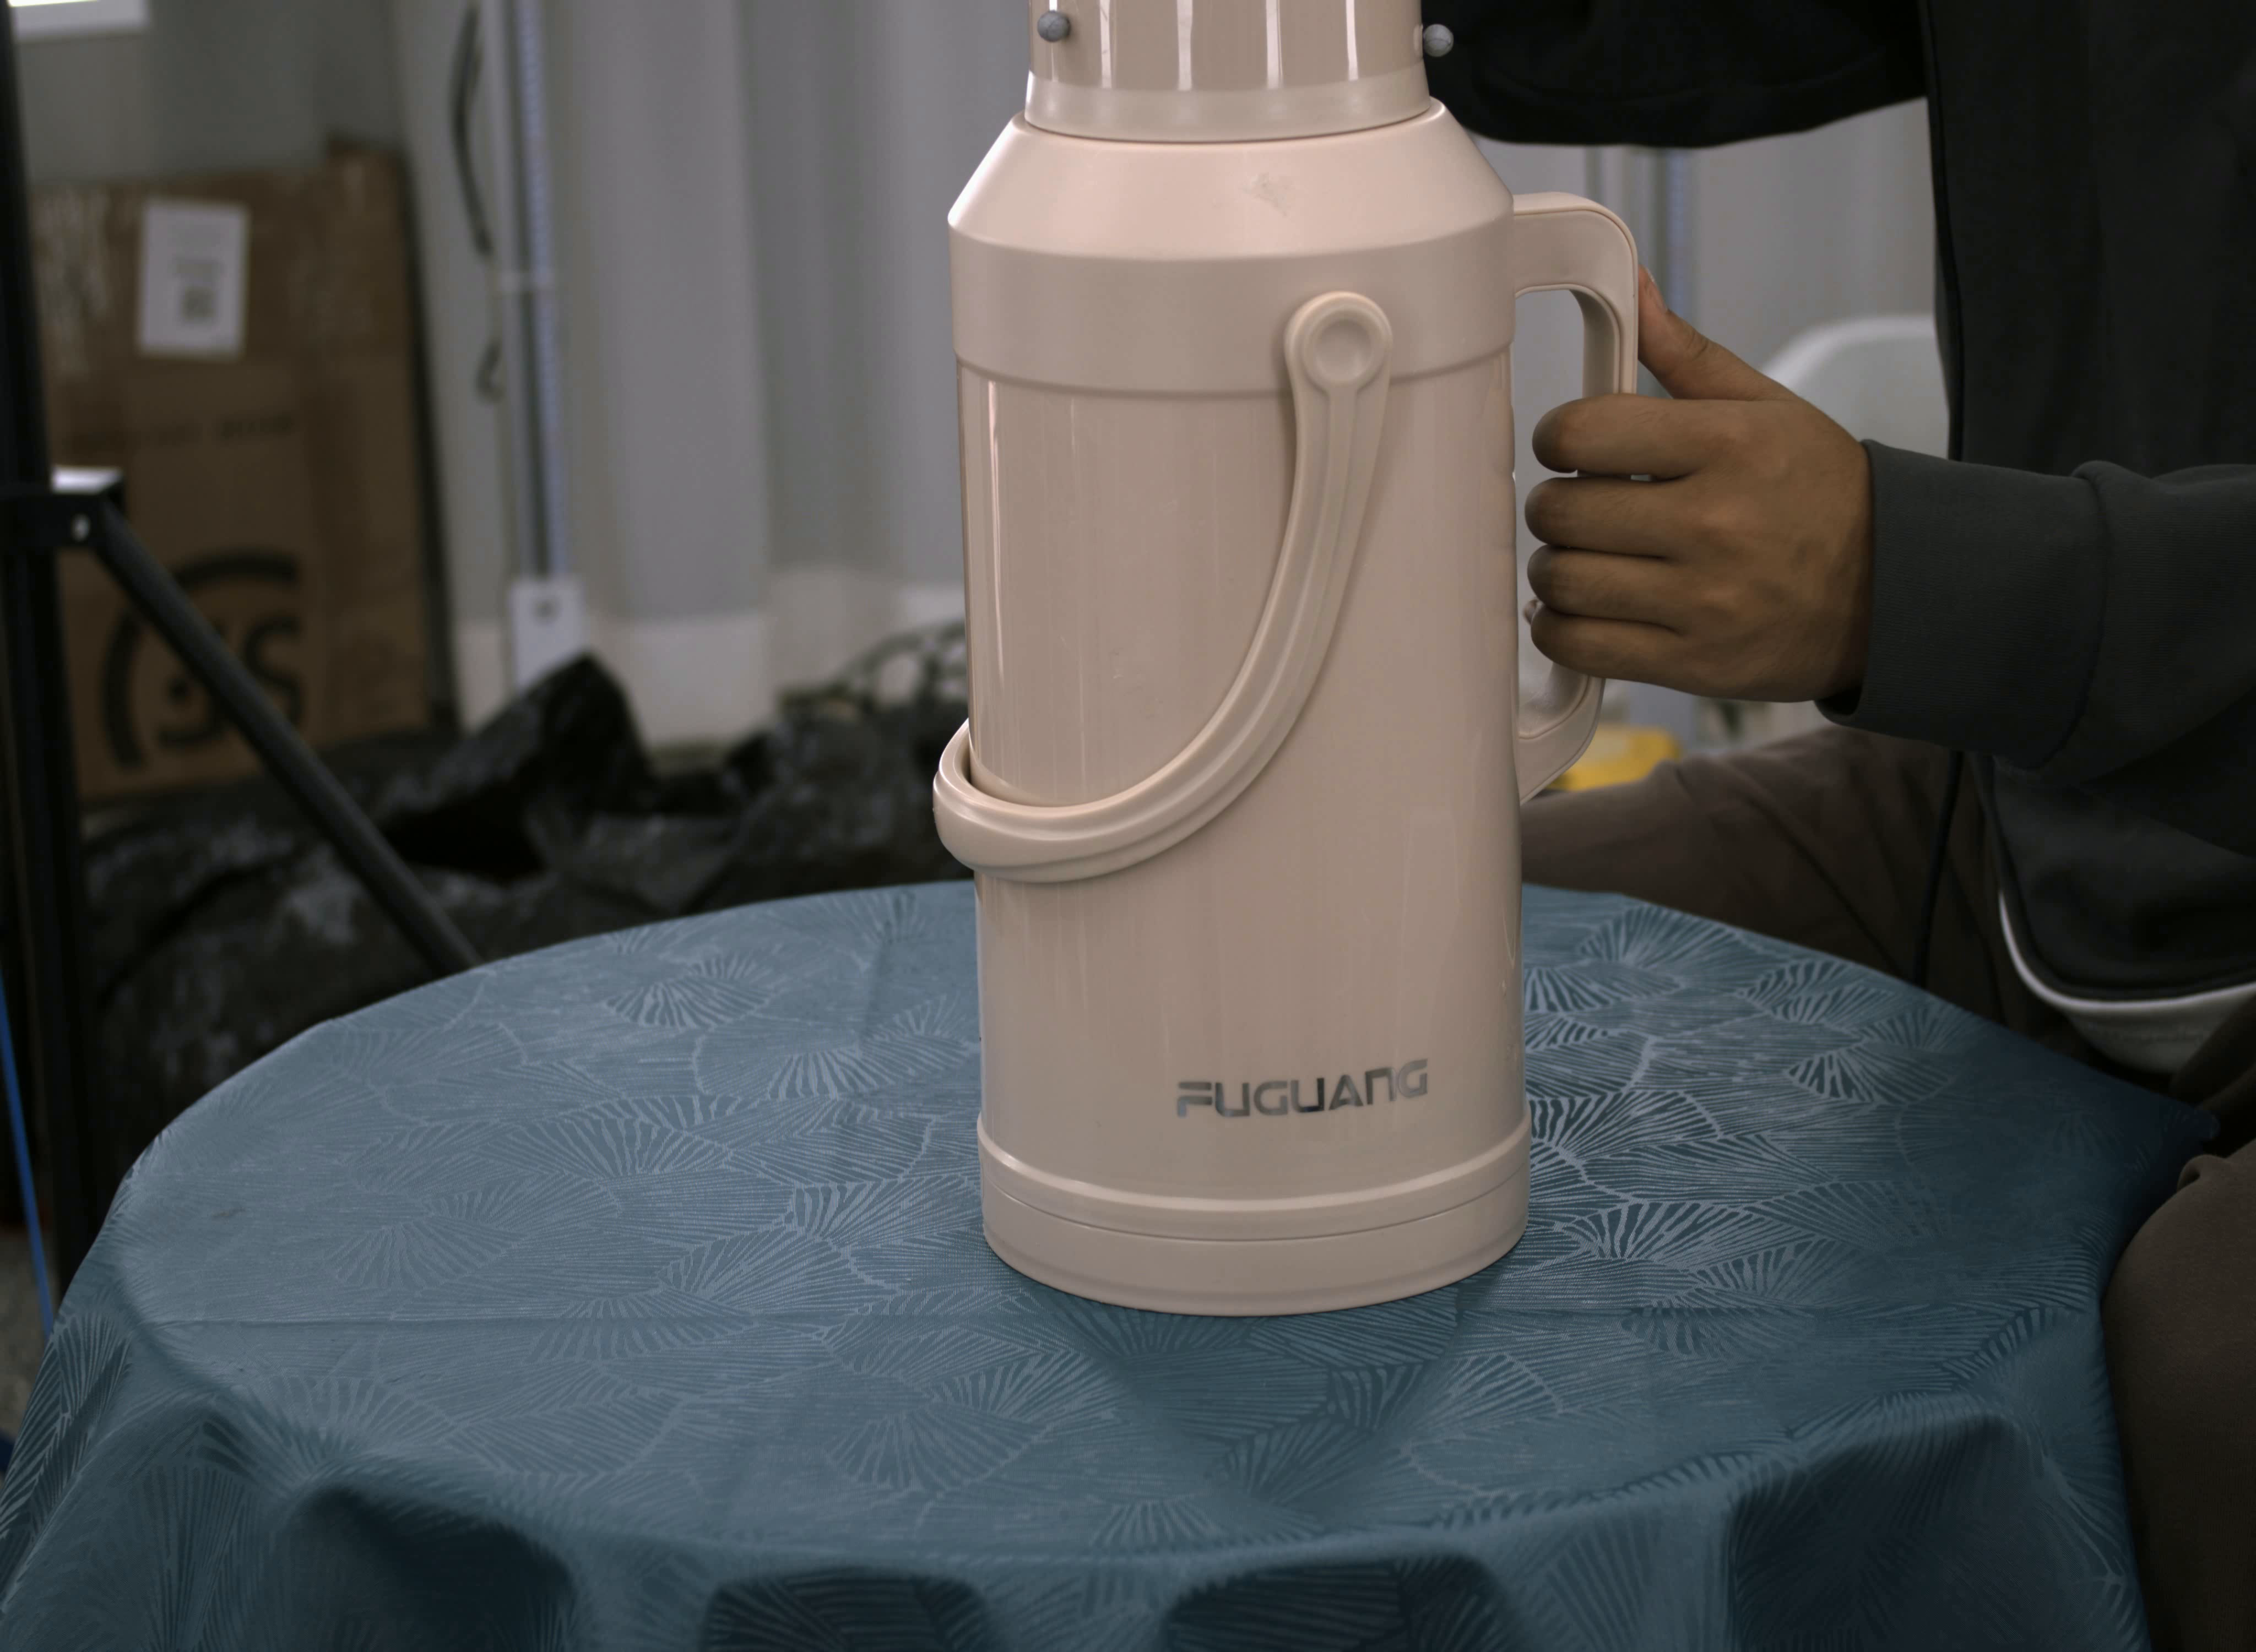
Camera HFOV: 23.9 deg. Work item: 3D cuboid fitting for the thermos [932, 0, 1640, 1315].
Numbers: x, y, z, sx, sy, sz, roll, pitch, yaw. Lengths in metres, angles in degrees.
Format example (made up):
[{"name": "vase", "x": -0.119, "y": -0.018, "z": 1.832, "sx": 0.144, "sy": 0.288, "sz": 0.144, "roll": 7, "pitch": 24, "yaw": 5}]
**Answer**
[{"name": "thermos", "x": 0.045, "y": -0.079, "z": 1.485, "sx": 0.203, "sy": 0.406, "sz": 0.178, "roll": -7, "pitch": 16, "yaw": -16}]
